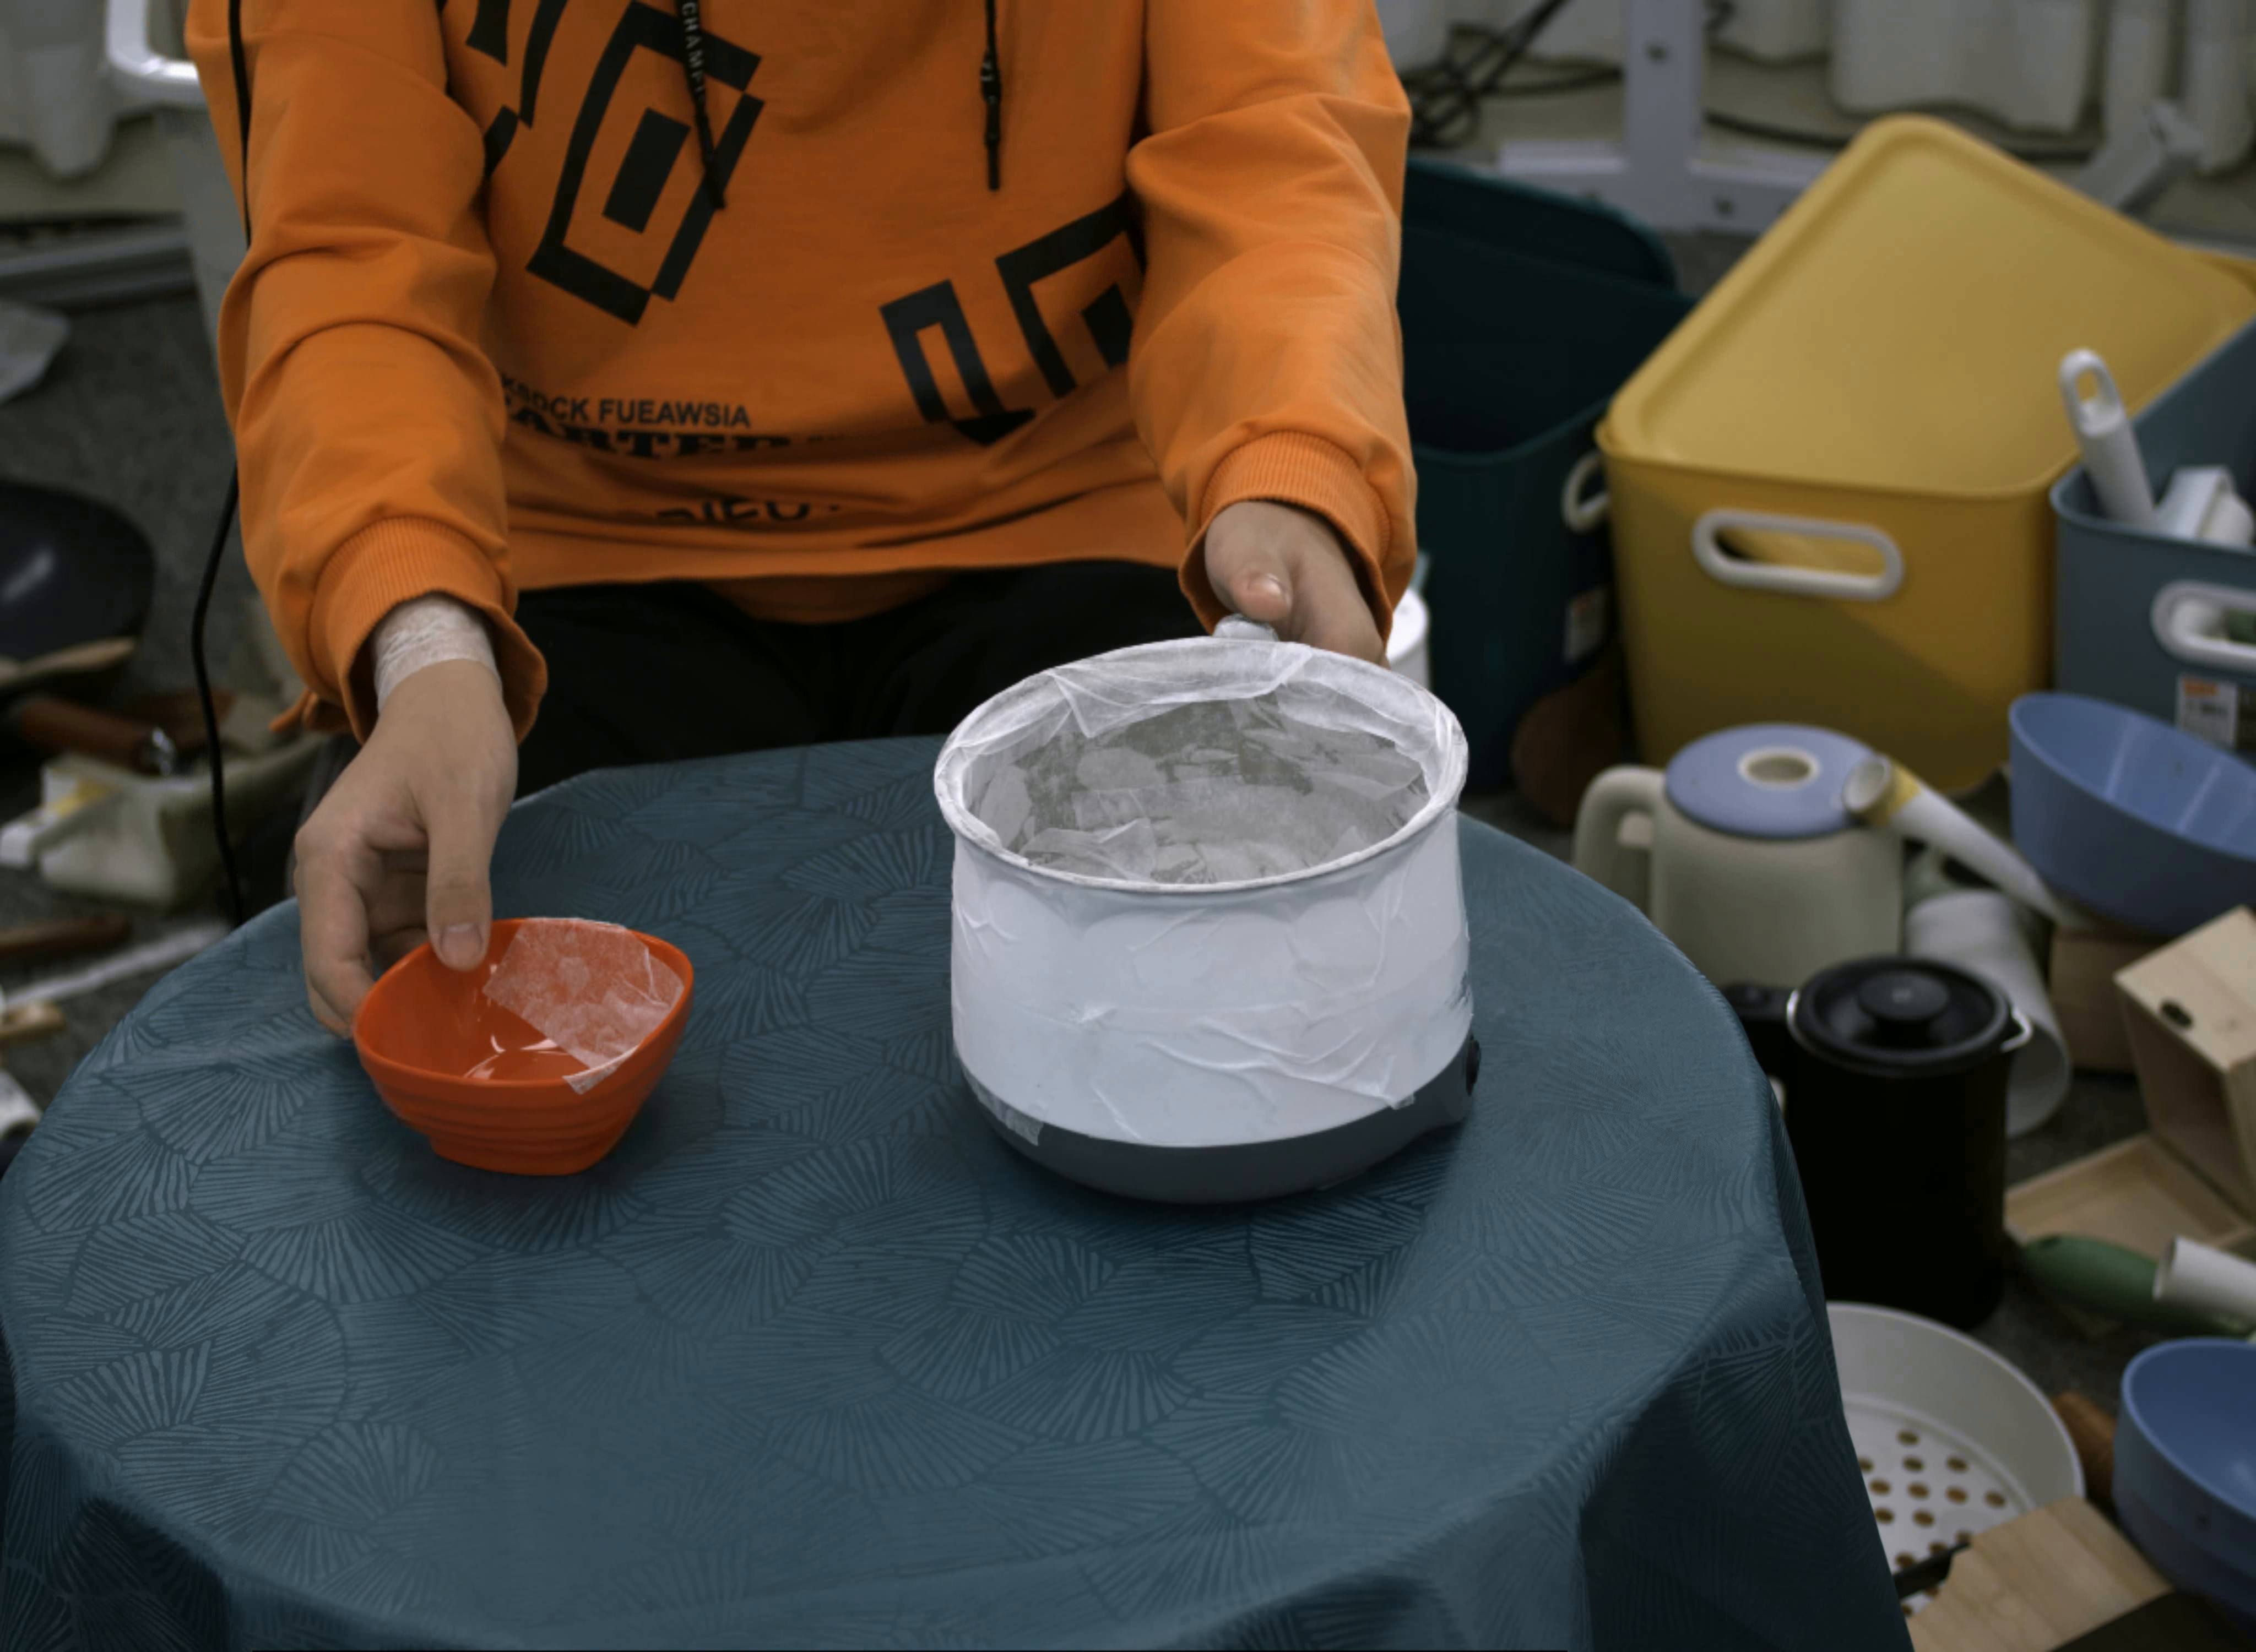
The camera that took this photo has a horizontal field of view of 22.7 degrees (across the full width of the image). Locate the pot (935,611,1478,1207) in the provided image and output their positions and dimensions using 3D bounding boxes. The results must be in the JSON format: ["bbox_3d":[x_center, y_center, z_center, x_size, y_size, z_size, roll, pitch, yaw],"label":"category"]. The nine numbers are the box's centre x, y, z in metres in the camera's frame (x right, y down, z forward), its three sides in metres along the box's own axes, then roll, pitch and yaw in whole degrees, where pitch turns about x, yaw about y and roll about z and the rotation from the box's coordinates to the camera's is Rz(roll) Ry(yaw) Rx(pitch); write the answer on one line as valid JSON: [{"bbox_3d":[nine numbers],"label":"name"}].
[{"bbox_3d":[0.031,0.021,1.906,0.177,0.135,0.237,1,28,7],"label":"pot"}]

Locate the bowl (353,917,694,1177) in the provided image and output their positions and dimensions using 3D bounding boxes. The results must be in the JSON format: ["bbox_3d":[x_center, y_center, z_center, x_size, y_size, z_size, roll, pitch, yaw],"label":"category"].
[{"bbox_3d":[-0.202,0.080,1.908,0.118,0.051,0.121,-3,28,2],"label":"bowl"}]
